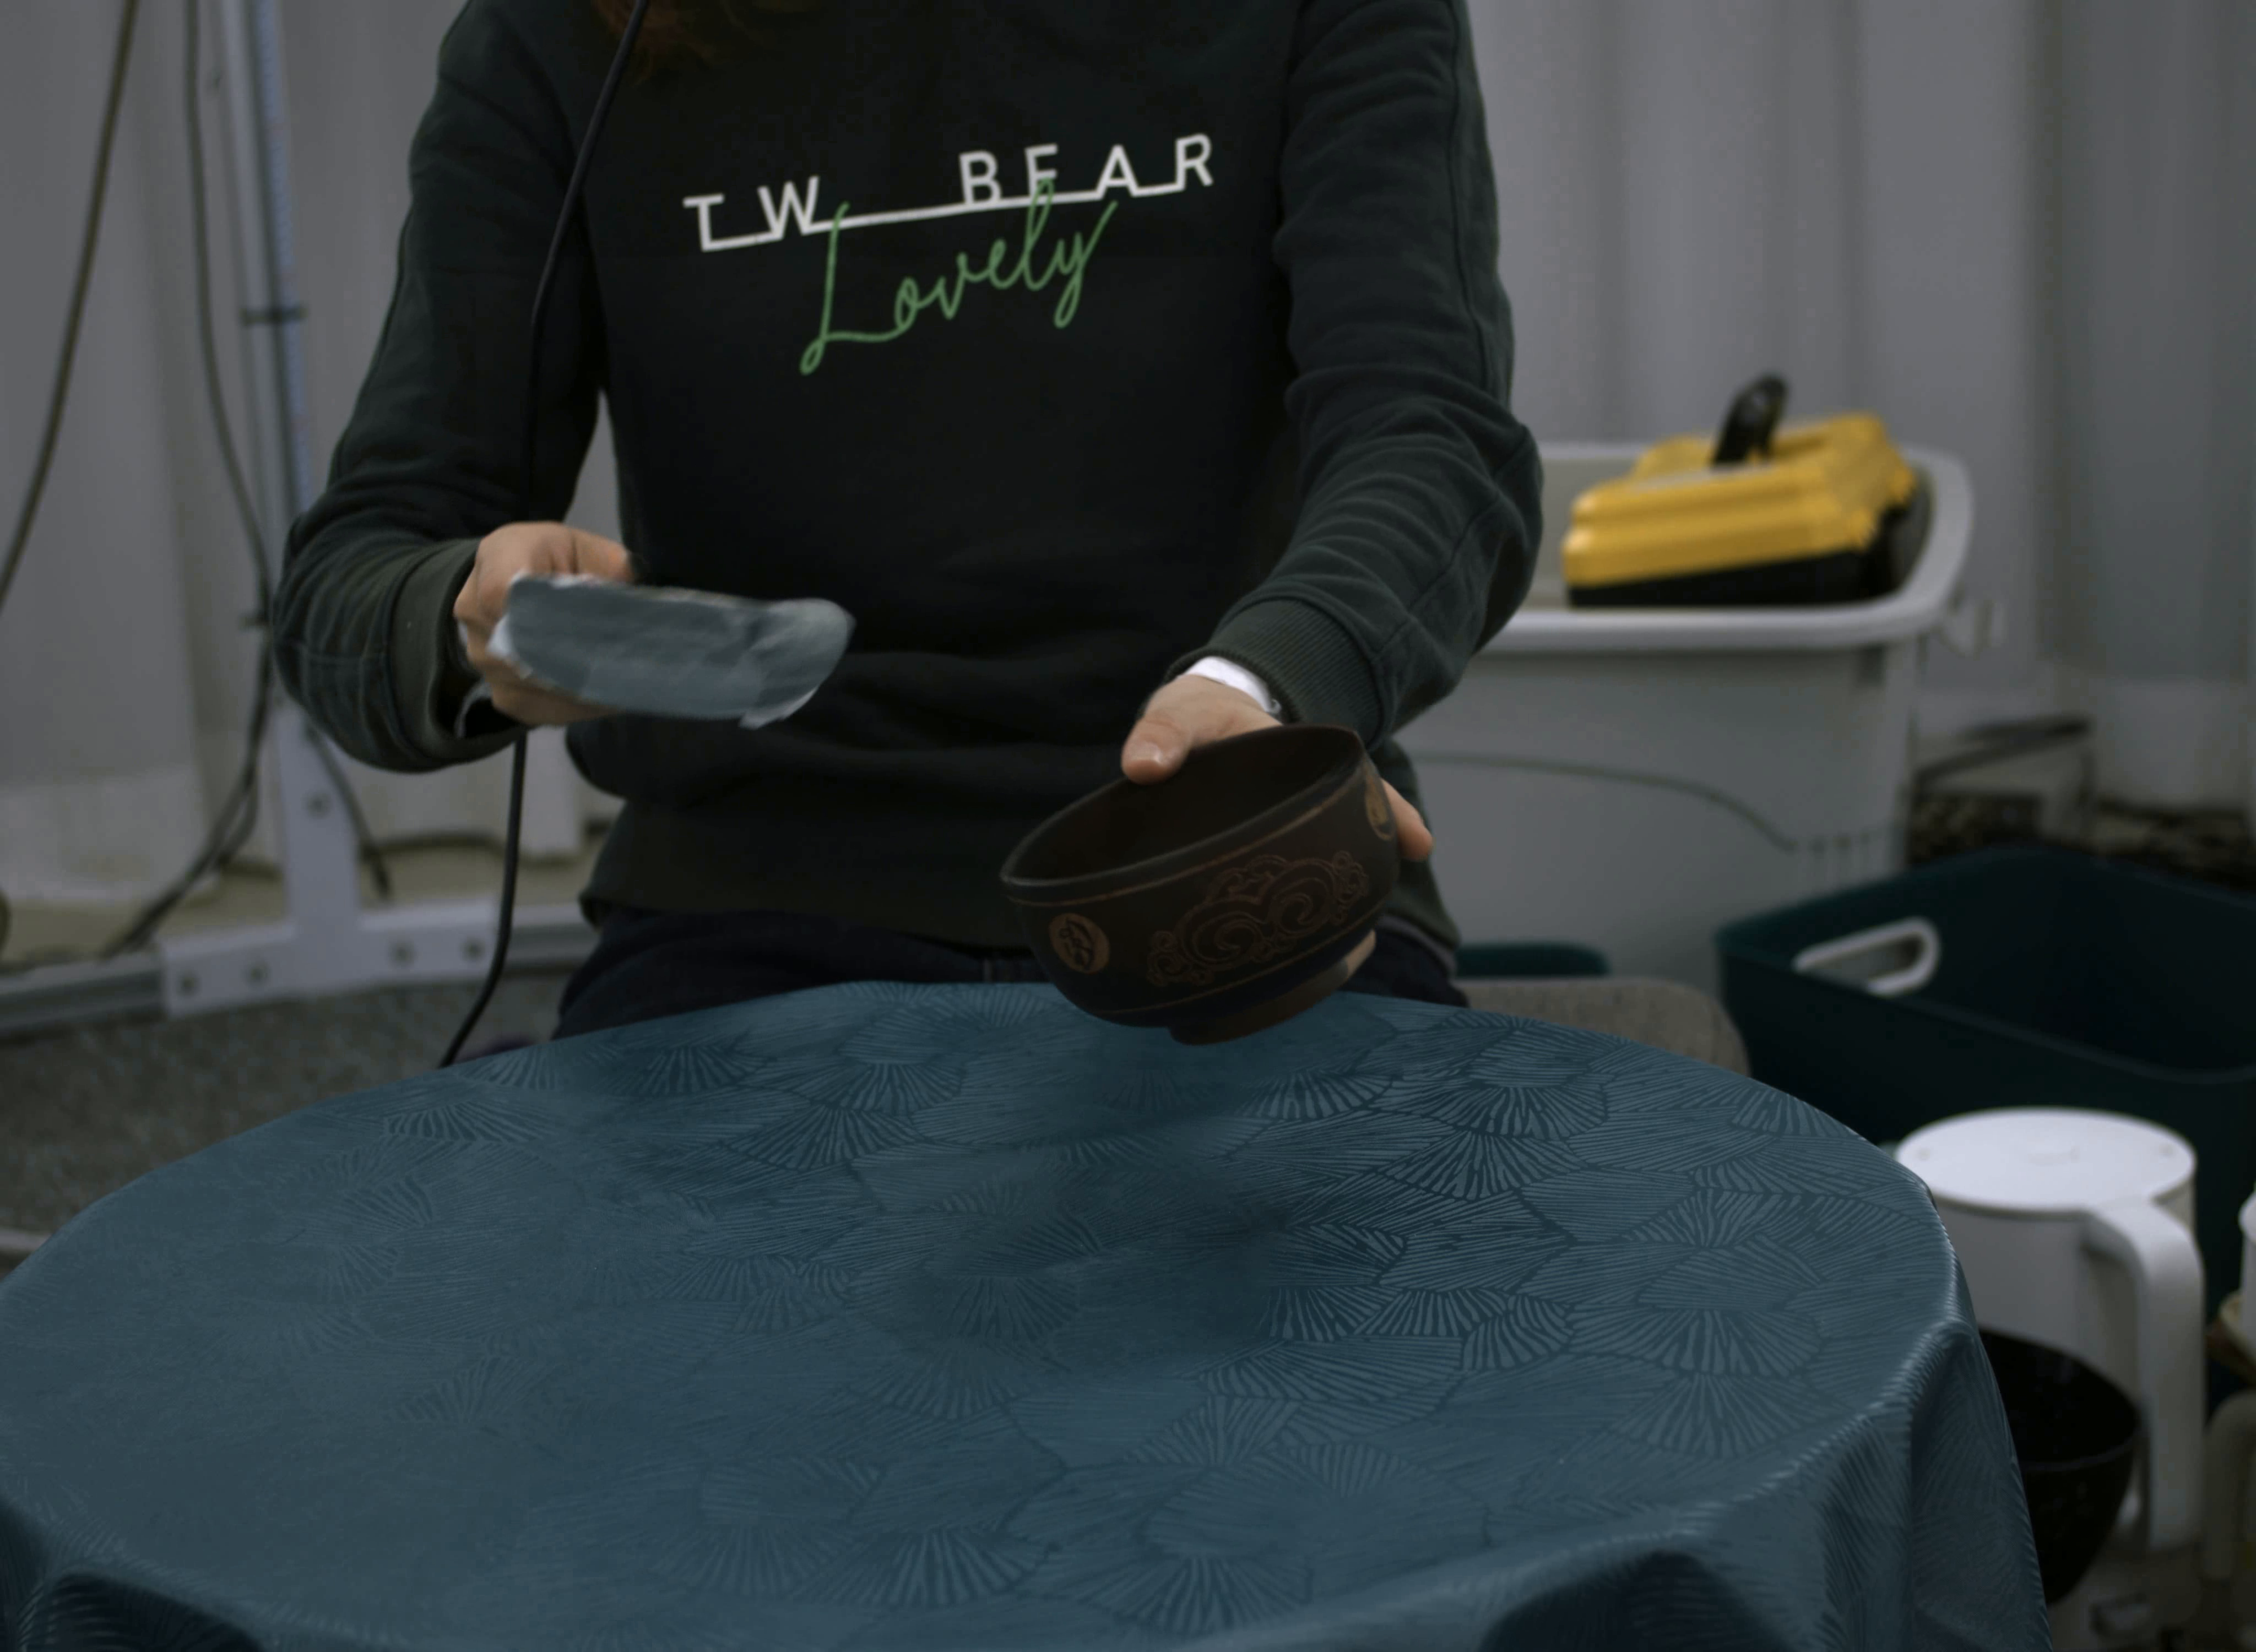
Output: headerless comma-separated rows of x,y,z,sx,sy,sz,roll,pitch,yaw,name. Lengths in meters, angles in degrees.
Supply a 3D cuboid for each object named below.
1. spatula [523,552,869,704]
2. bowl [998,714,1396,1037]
-0.147,-0.061,1.701,0.098,0.045,0.366,5,2,-9,spatula
0.026,0.021,1.644,0.118,0.069,0.119,-20,13,4,bowl
